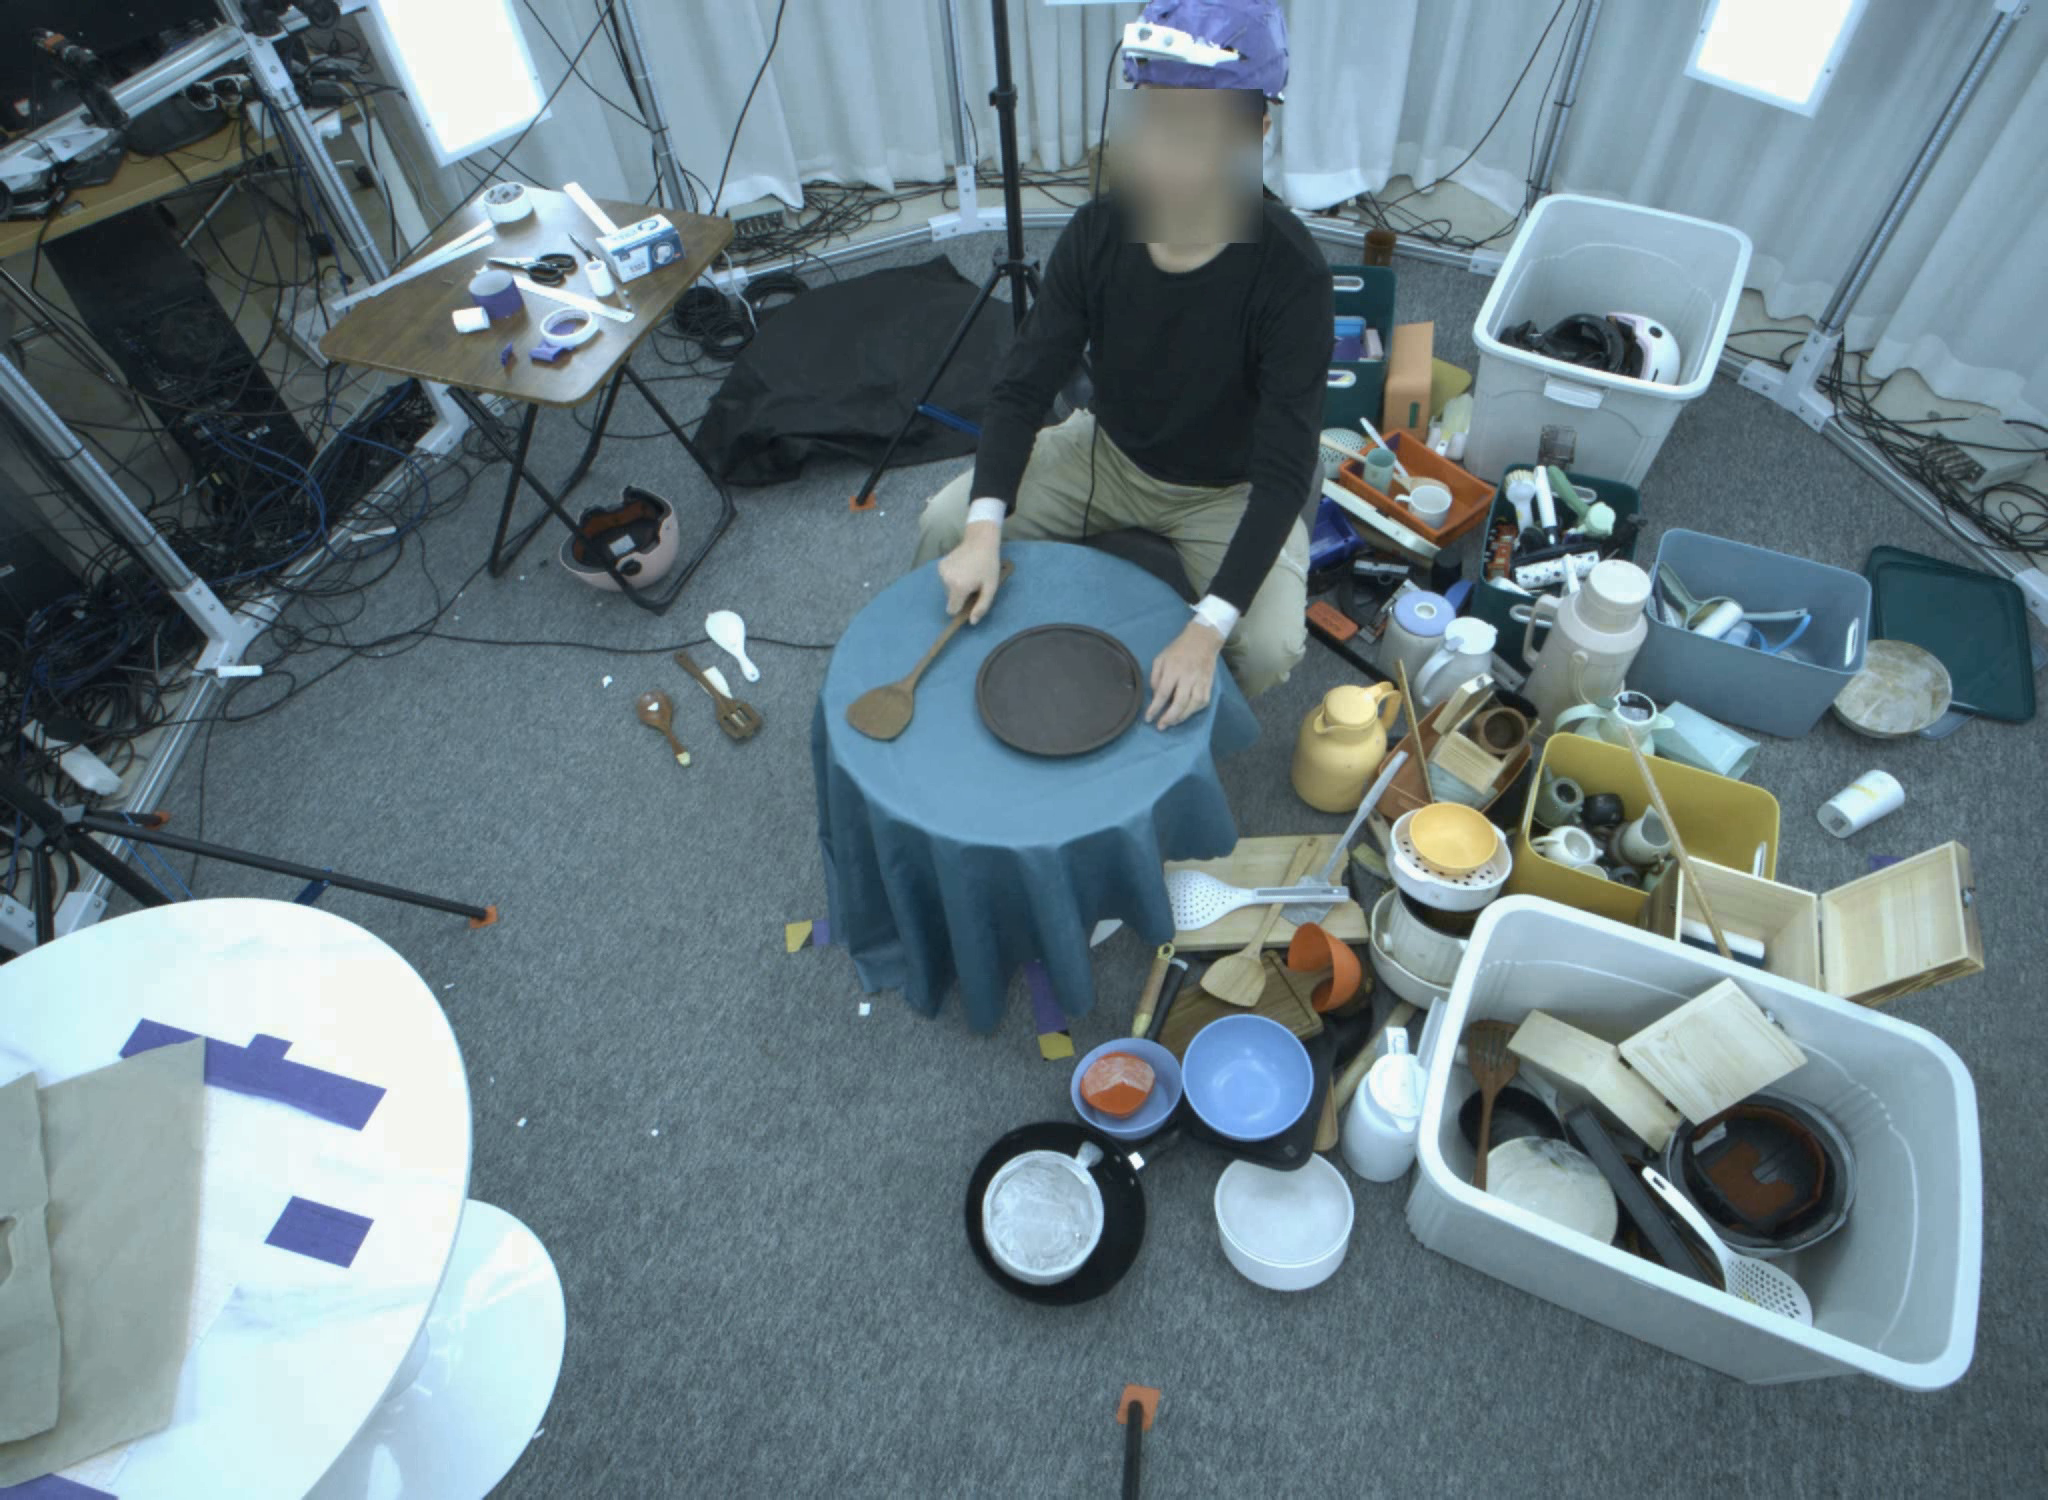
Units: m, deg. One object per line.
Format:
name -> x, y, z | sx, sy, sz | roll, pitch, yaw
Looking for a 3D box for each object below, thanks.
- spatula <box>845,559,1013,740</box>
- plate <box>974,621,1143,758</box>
spatula -> -0.131, -0.166, 1.888 | 0.094, 0.016, 0.387 | 28, 65, 20
plate -> 0.052, -0.091, 1.837 | 0.254, 0.029, 0.252 | -1, 55, 3
